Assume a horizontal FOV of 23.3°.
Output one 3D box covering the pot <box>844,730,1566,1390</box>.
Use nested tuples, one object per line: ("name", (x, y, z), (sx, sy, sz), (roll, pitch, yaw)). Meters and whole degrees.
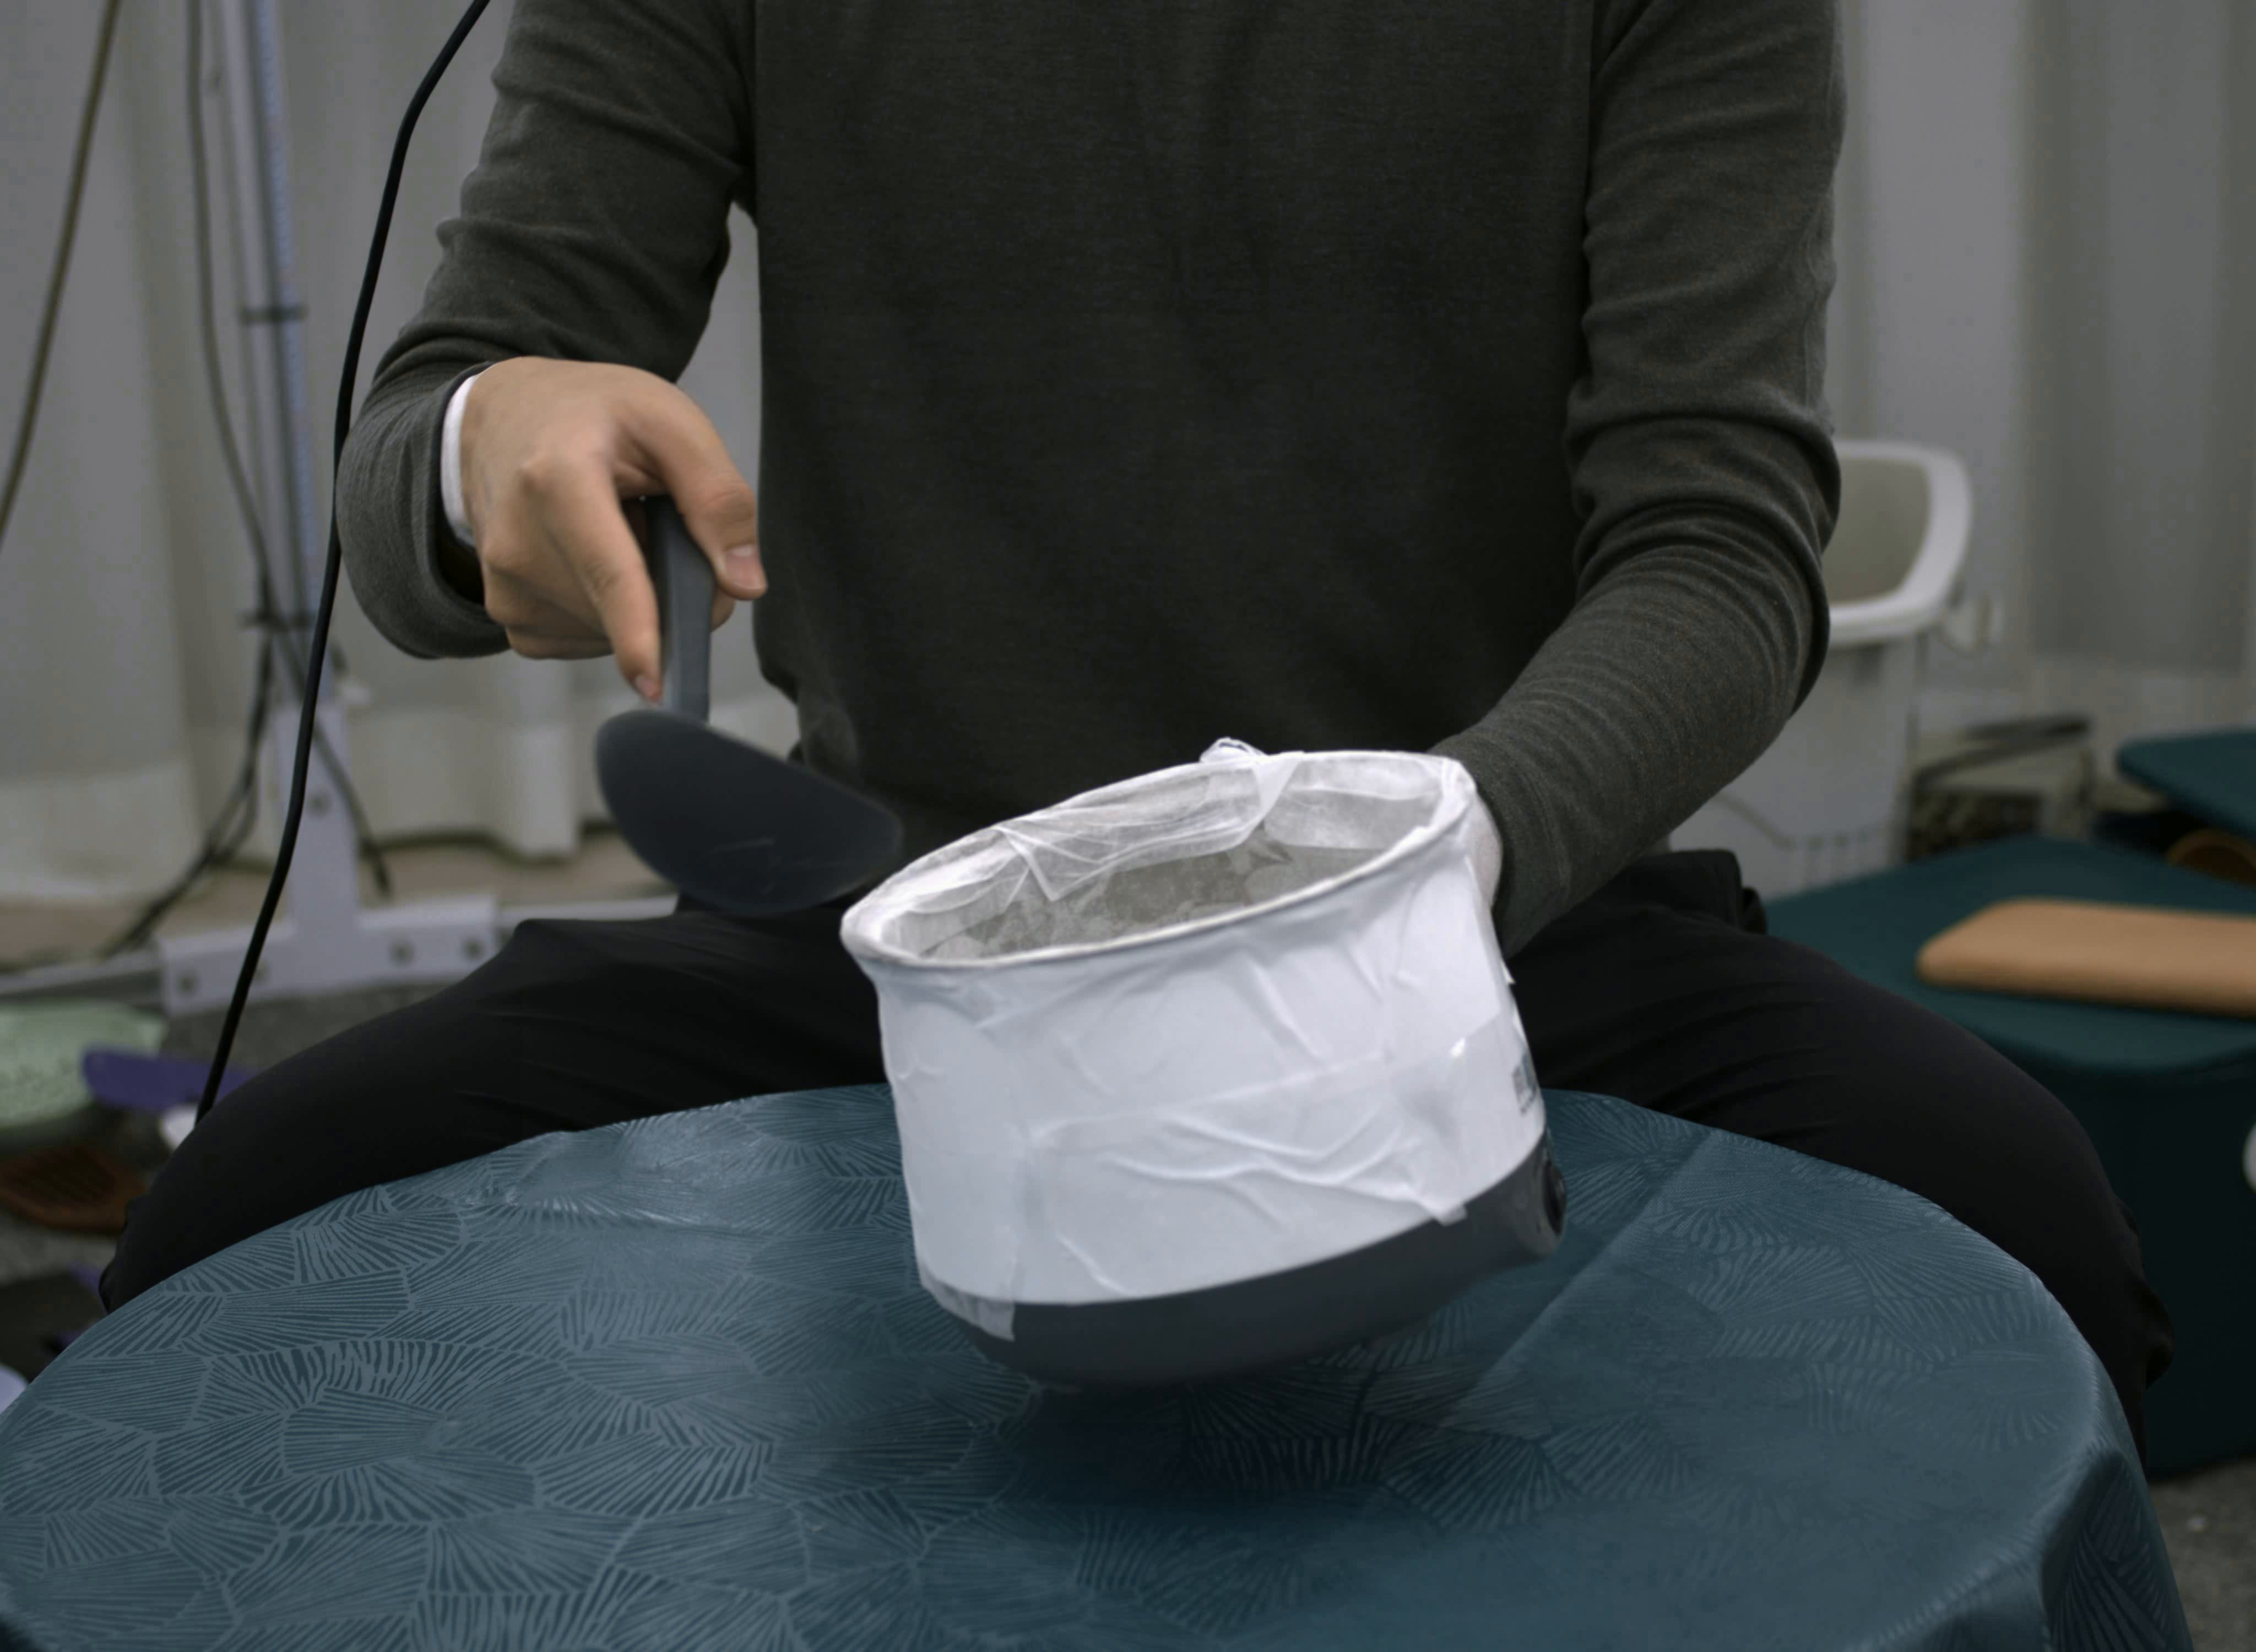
("pot", (0.028, 0.058, 1.524), (0.178, 0.136, 0.235), (-9, 14, 14))

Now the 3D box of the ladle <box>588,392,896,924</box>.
("ladle", (-0.117, -0.067, 1.558), (0.085, 0.063, 0.318), (28, 24, -20))
